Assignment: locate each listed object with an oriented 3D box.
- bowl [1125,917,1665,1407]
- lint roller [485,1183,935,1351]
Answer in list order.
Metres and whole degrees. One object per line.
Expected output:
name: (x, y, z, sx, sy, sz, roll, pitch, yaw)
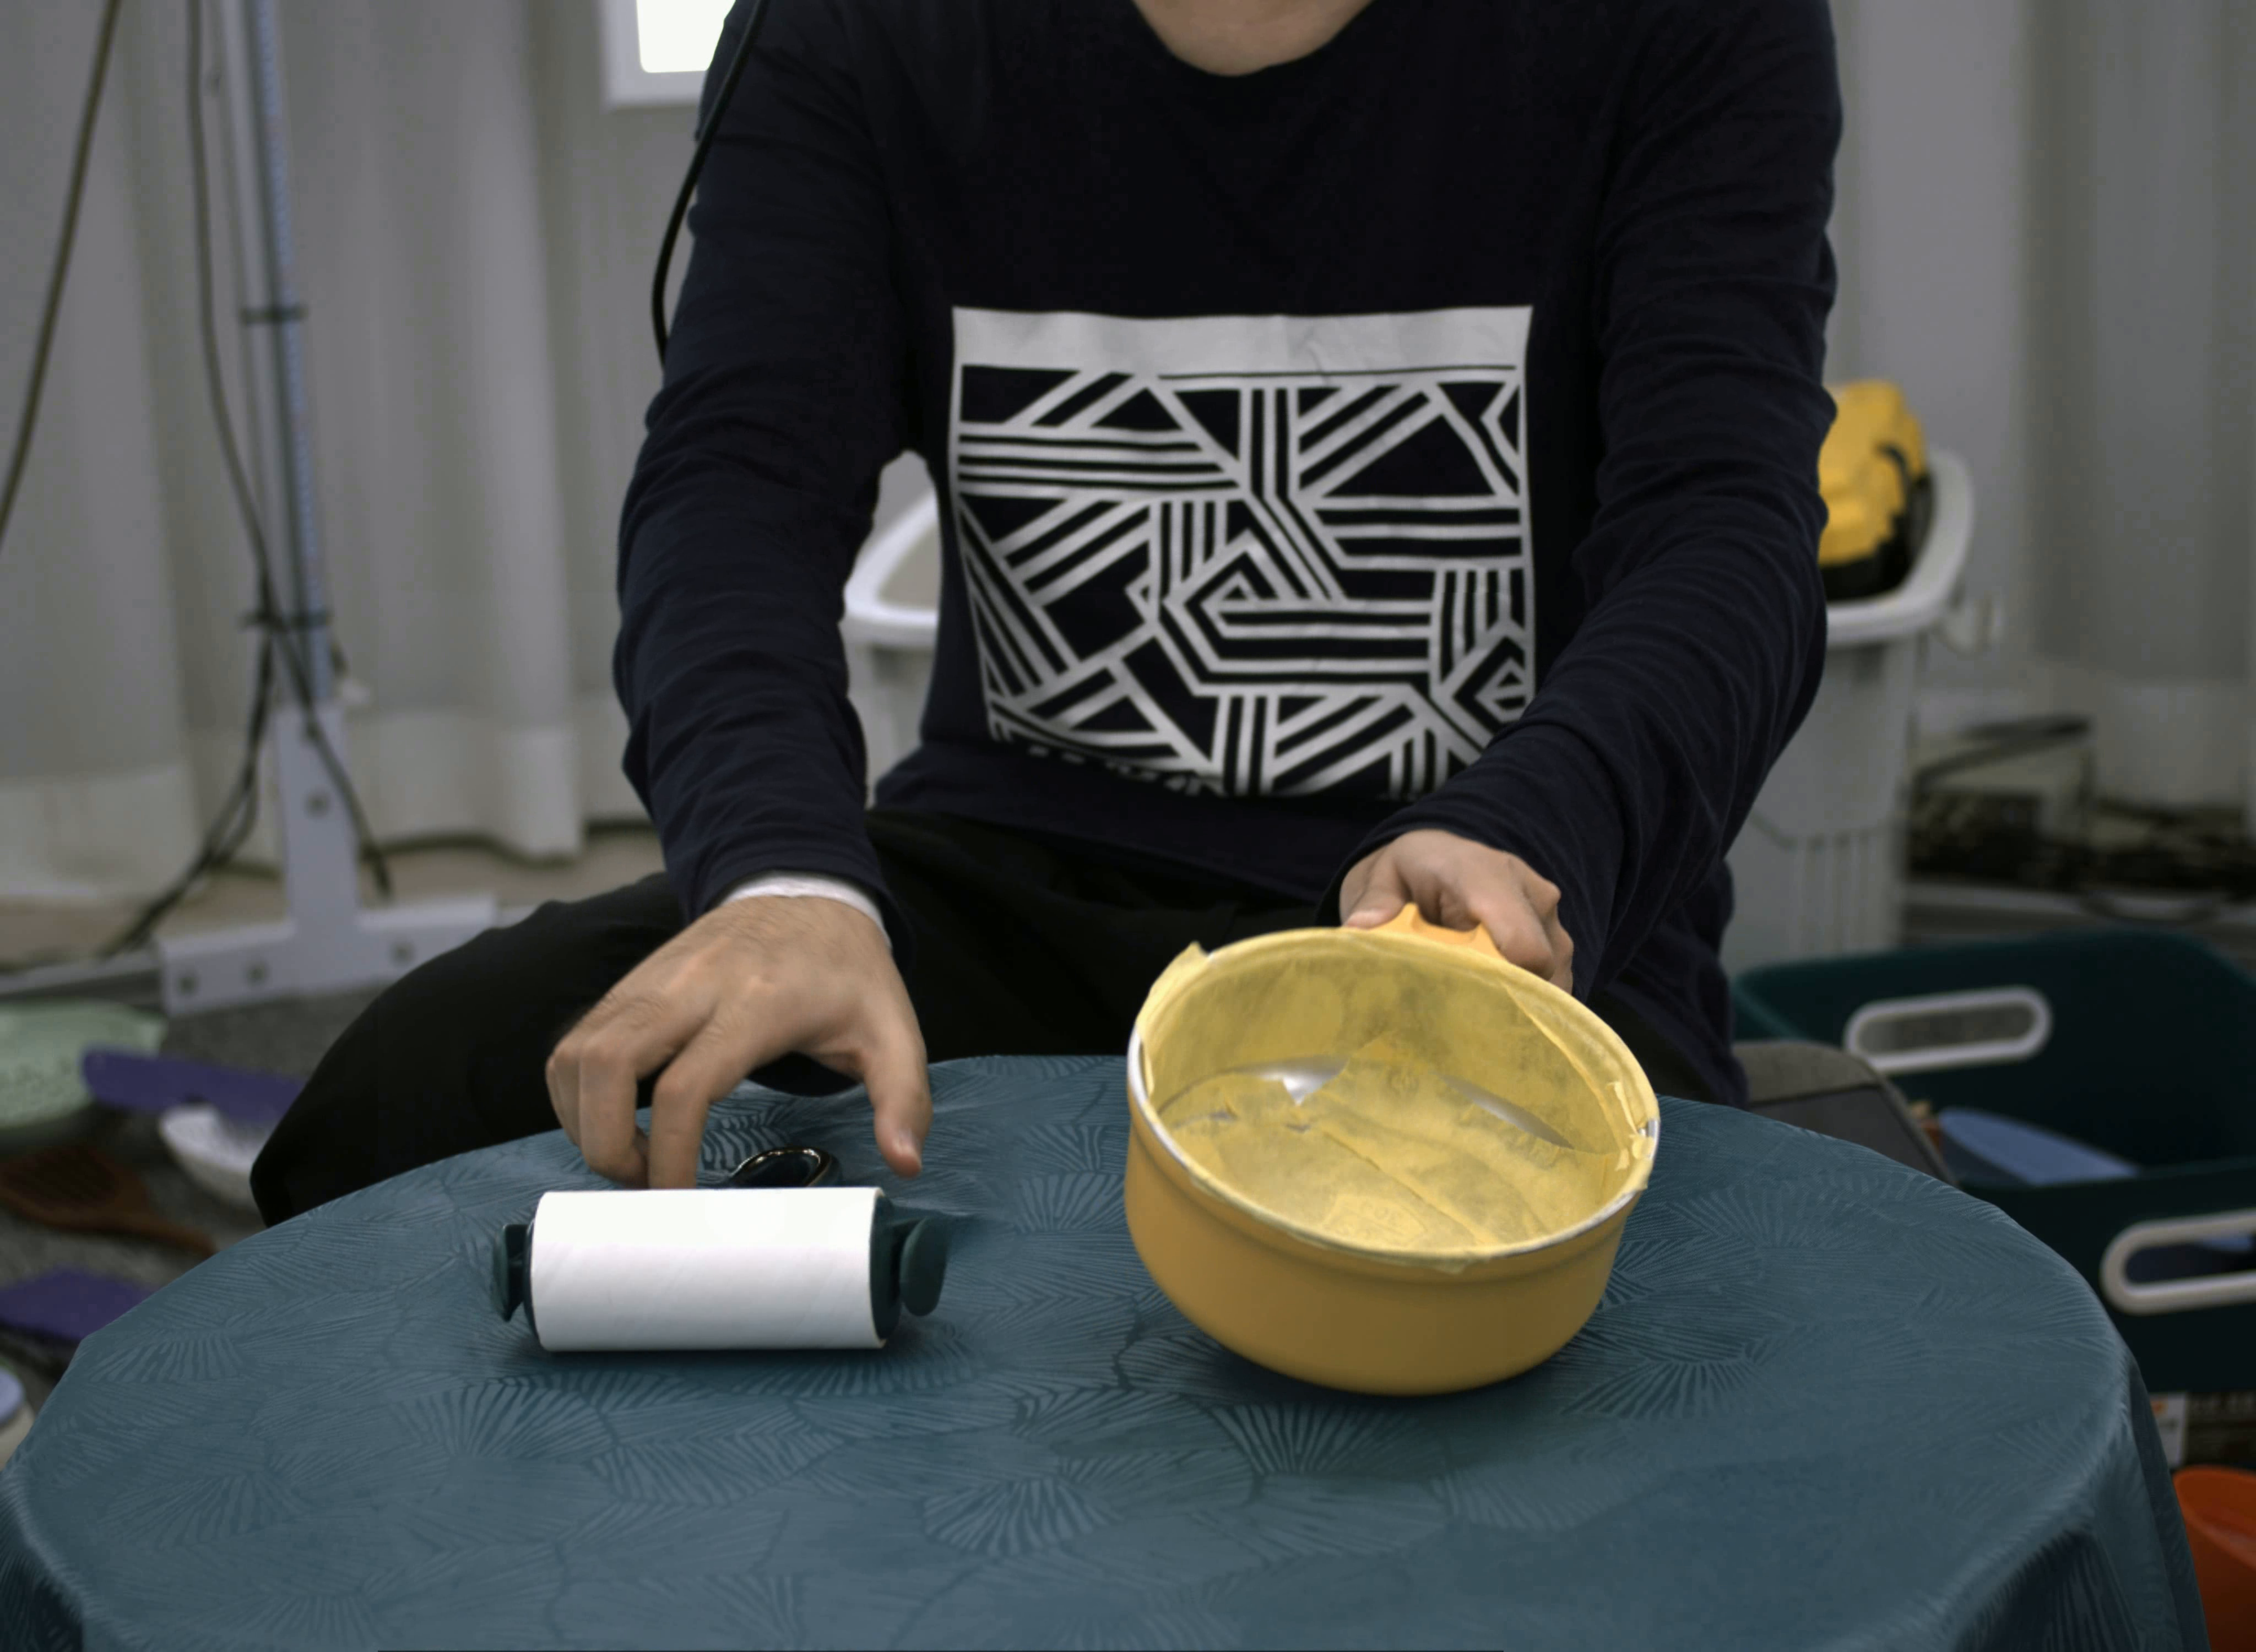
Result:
bowl: (0.075, 0.096, 1.577, 0.152, 0.073, 0.181, 9, 33, 1)
lint roller: (-0.115, 0.117, 1.658, 0.134, 0.048, 0.181, -2, 10, 6)
